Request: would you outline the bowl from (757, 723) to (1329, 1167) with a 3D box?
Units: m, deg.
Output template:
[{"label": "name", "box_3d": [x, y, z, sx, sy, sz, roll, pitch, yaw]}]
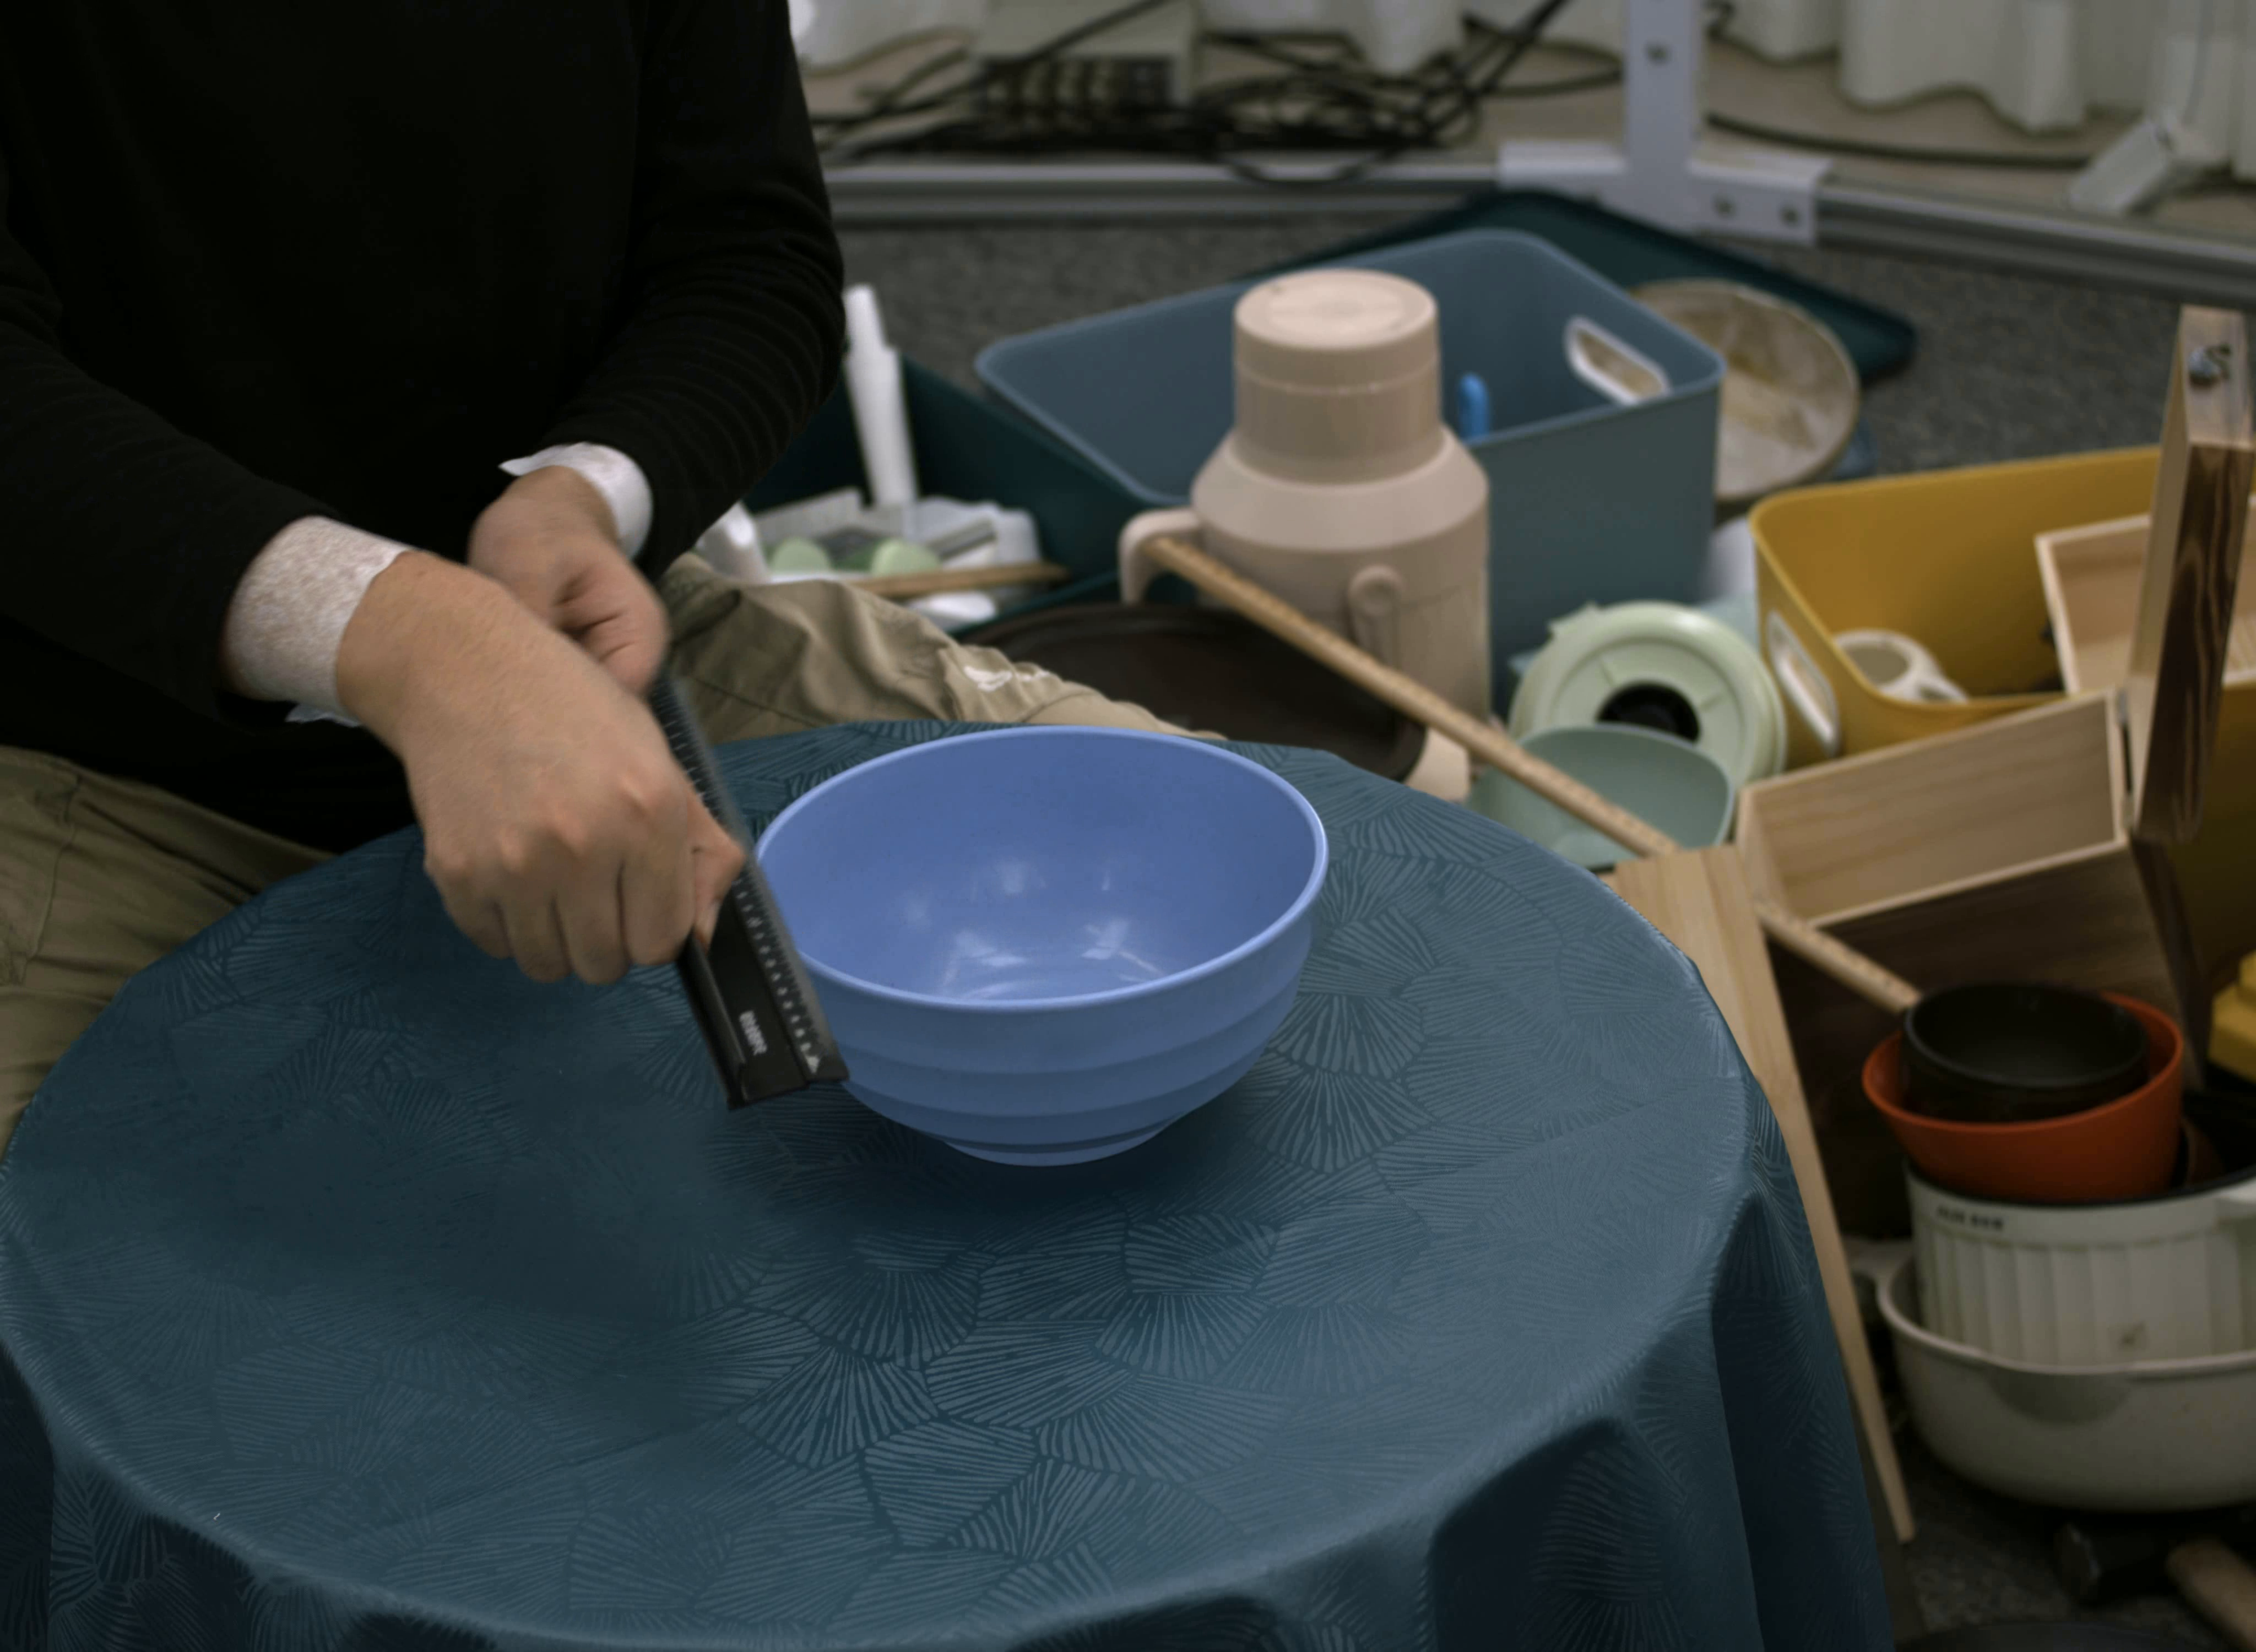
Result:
[{"label": "bowl", "box_3d": [-0.029, 0.051, 1.897, 0.195, 0.094, 0.199, -2, 28, 1]}]

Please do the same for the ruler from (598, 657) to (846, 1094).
[{"label": "ruler", "box_3d": [-0.134, 0.008, 1.812, 0.039, 0.017, 0.316, -10, 26, -9]}]
